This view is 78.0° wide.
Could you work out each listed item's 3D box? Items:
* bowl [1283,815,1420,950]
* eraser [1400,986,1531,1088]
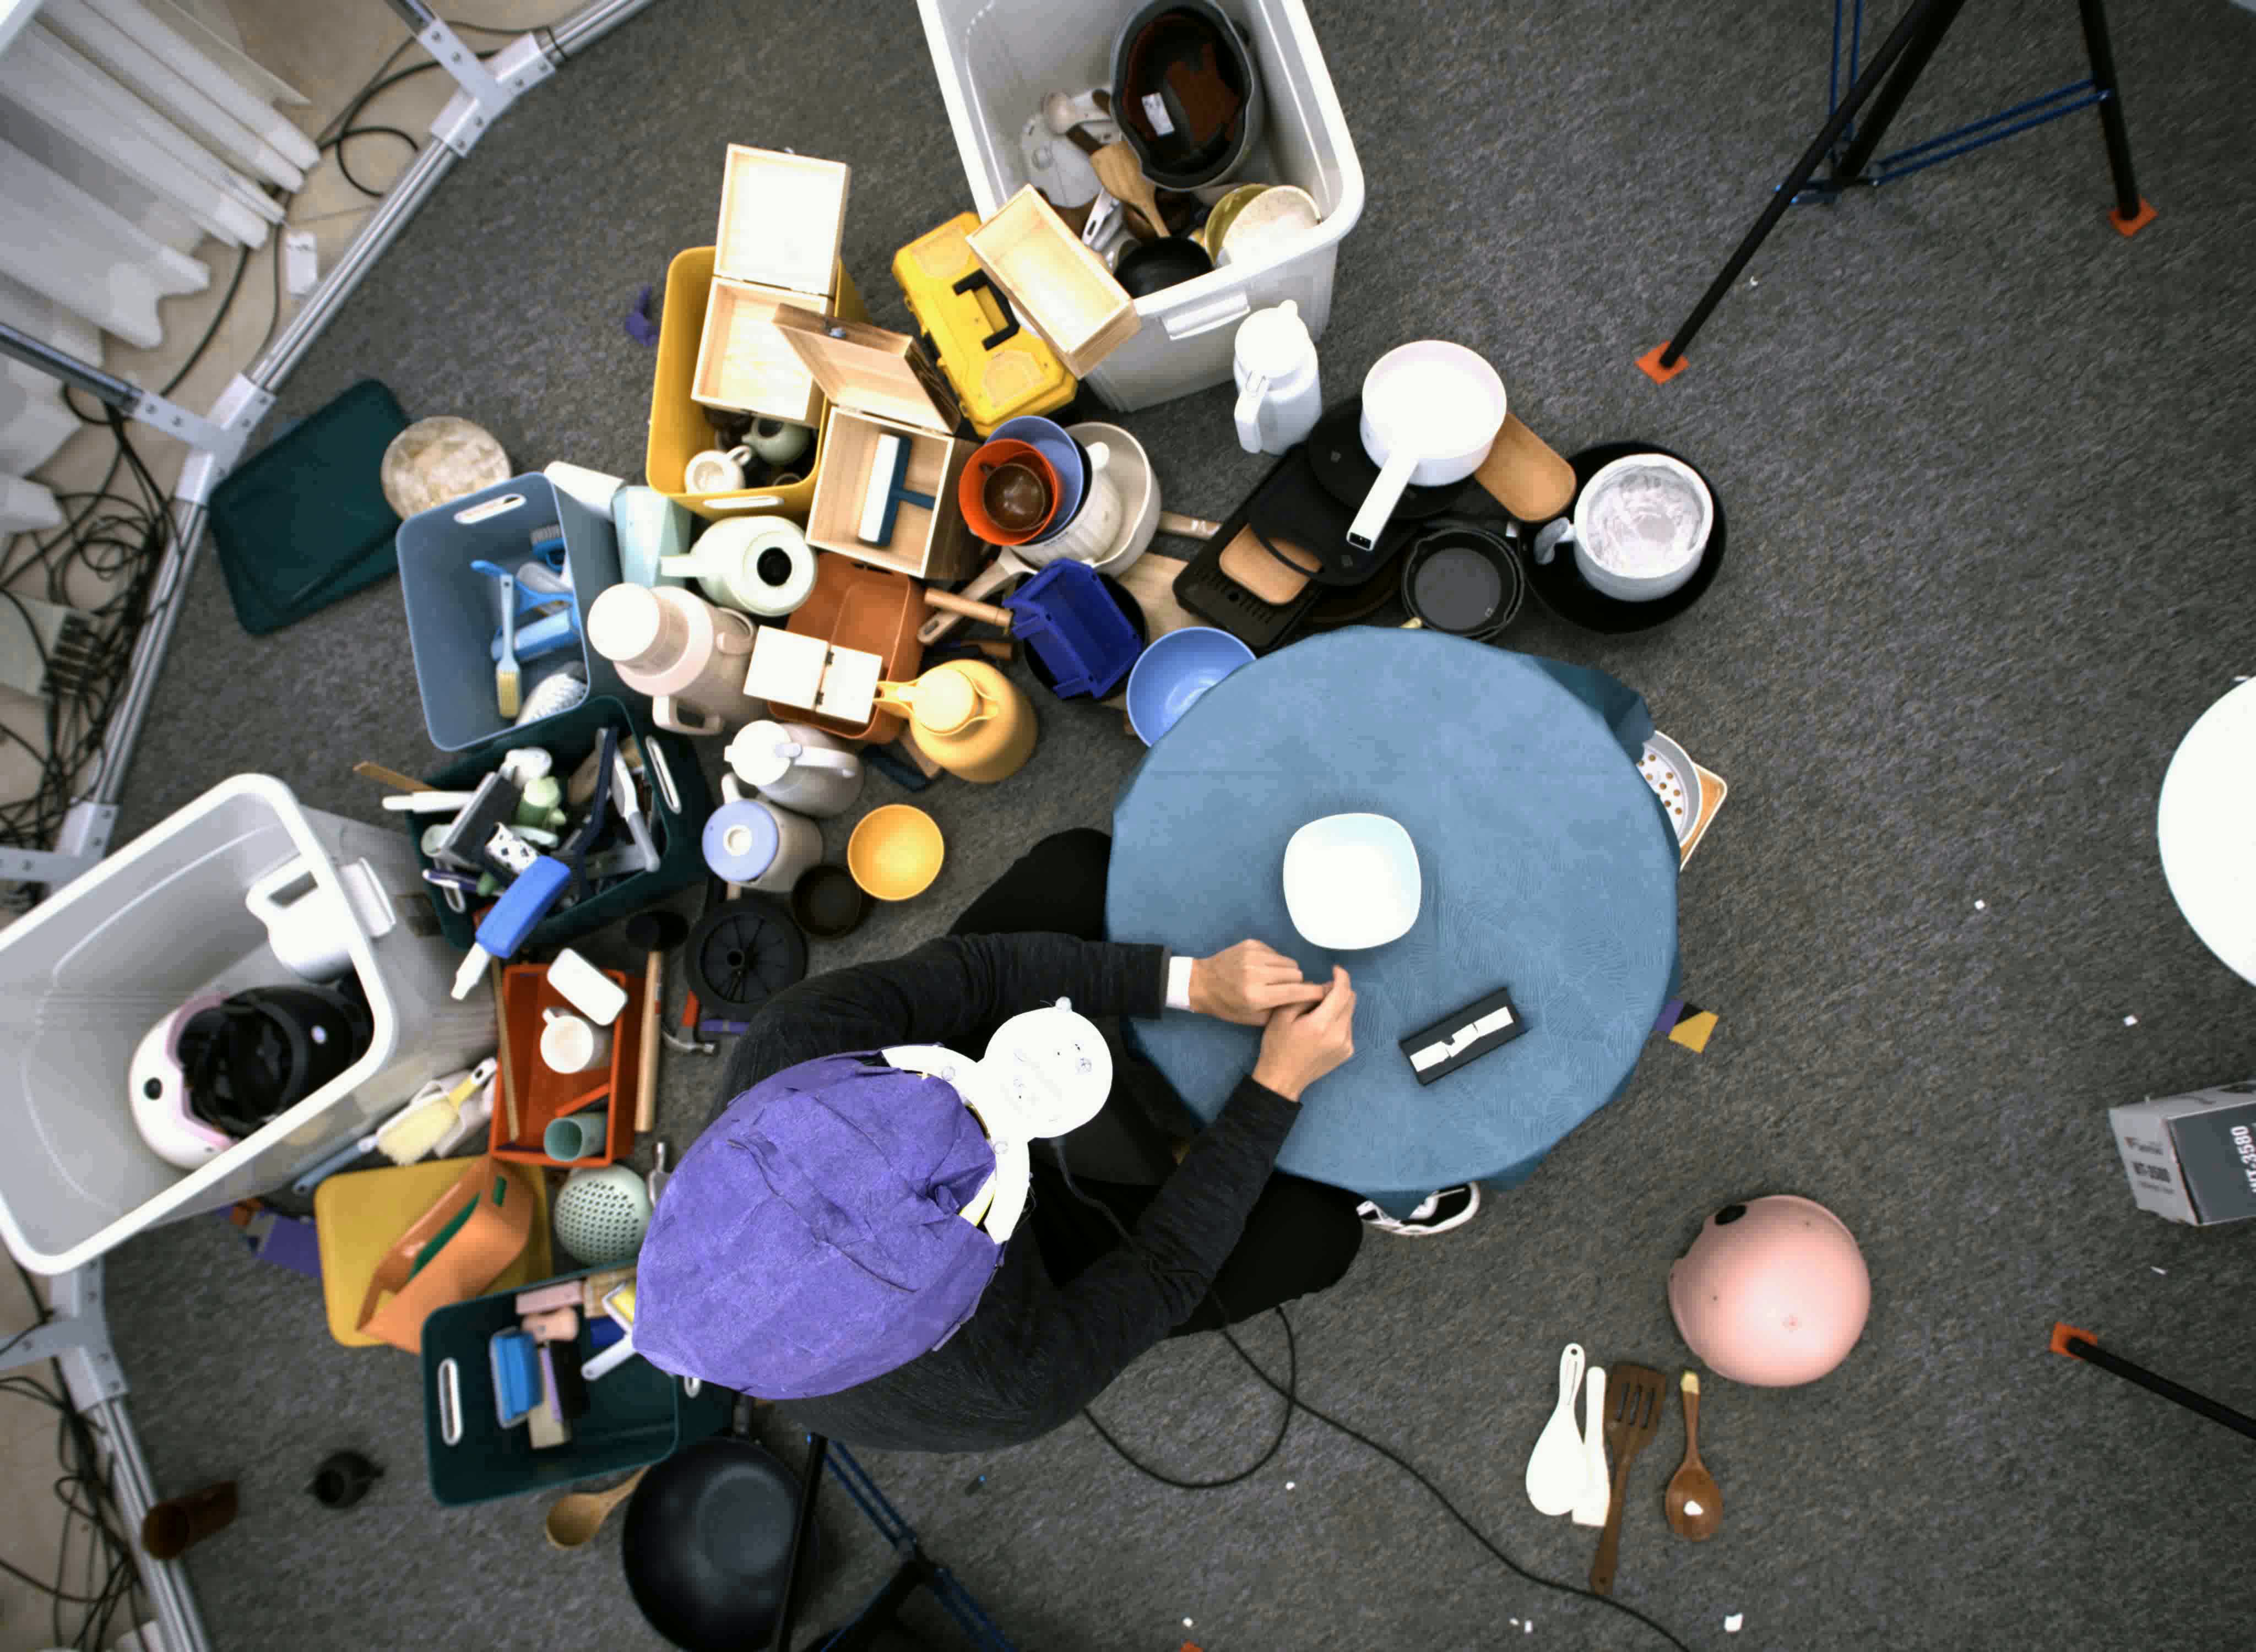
[{"bbox_3d":[0.233,0.060,1.440,0.152,0.059,0.150,-1,84,11],"label":"bowl"},{"bbox_3d":[0.348,0.215,1.423,0.126,0.030,0.053,-31,79,8],"label":"eraser"}]
